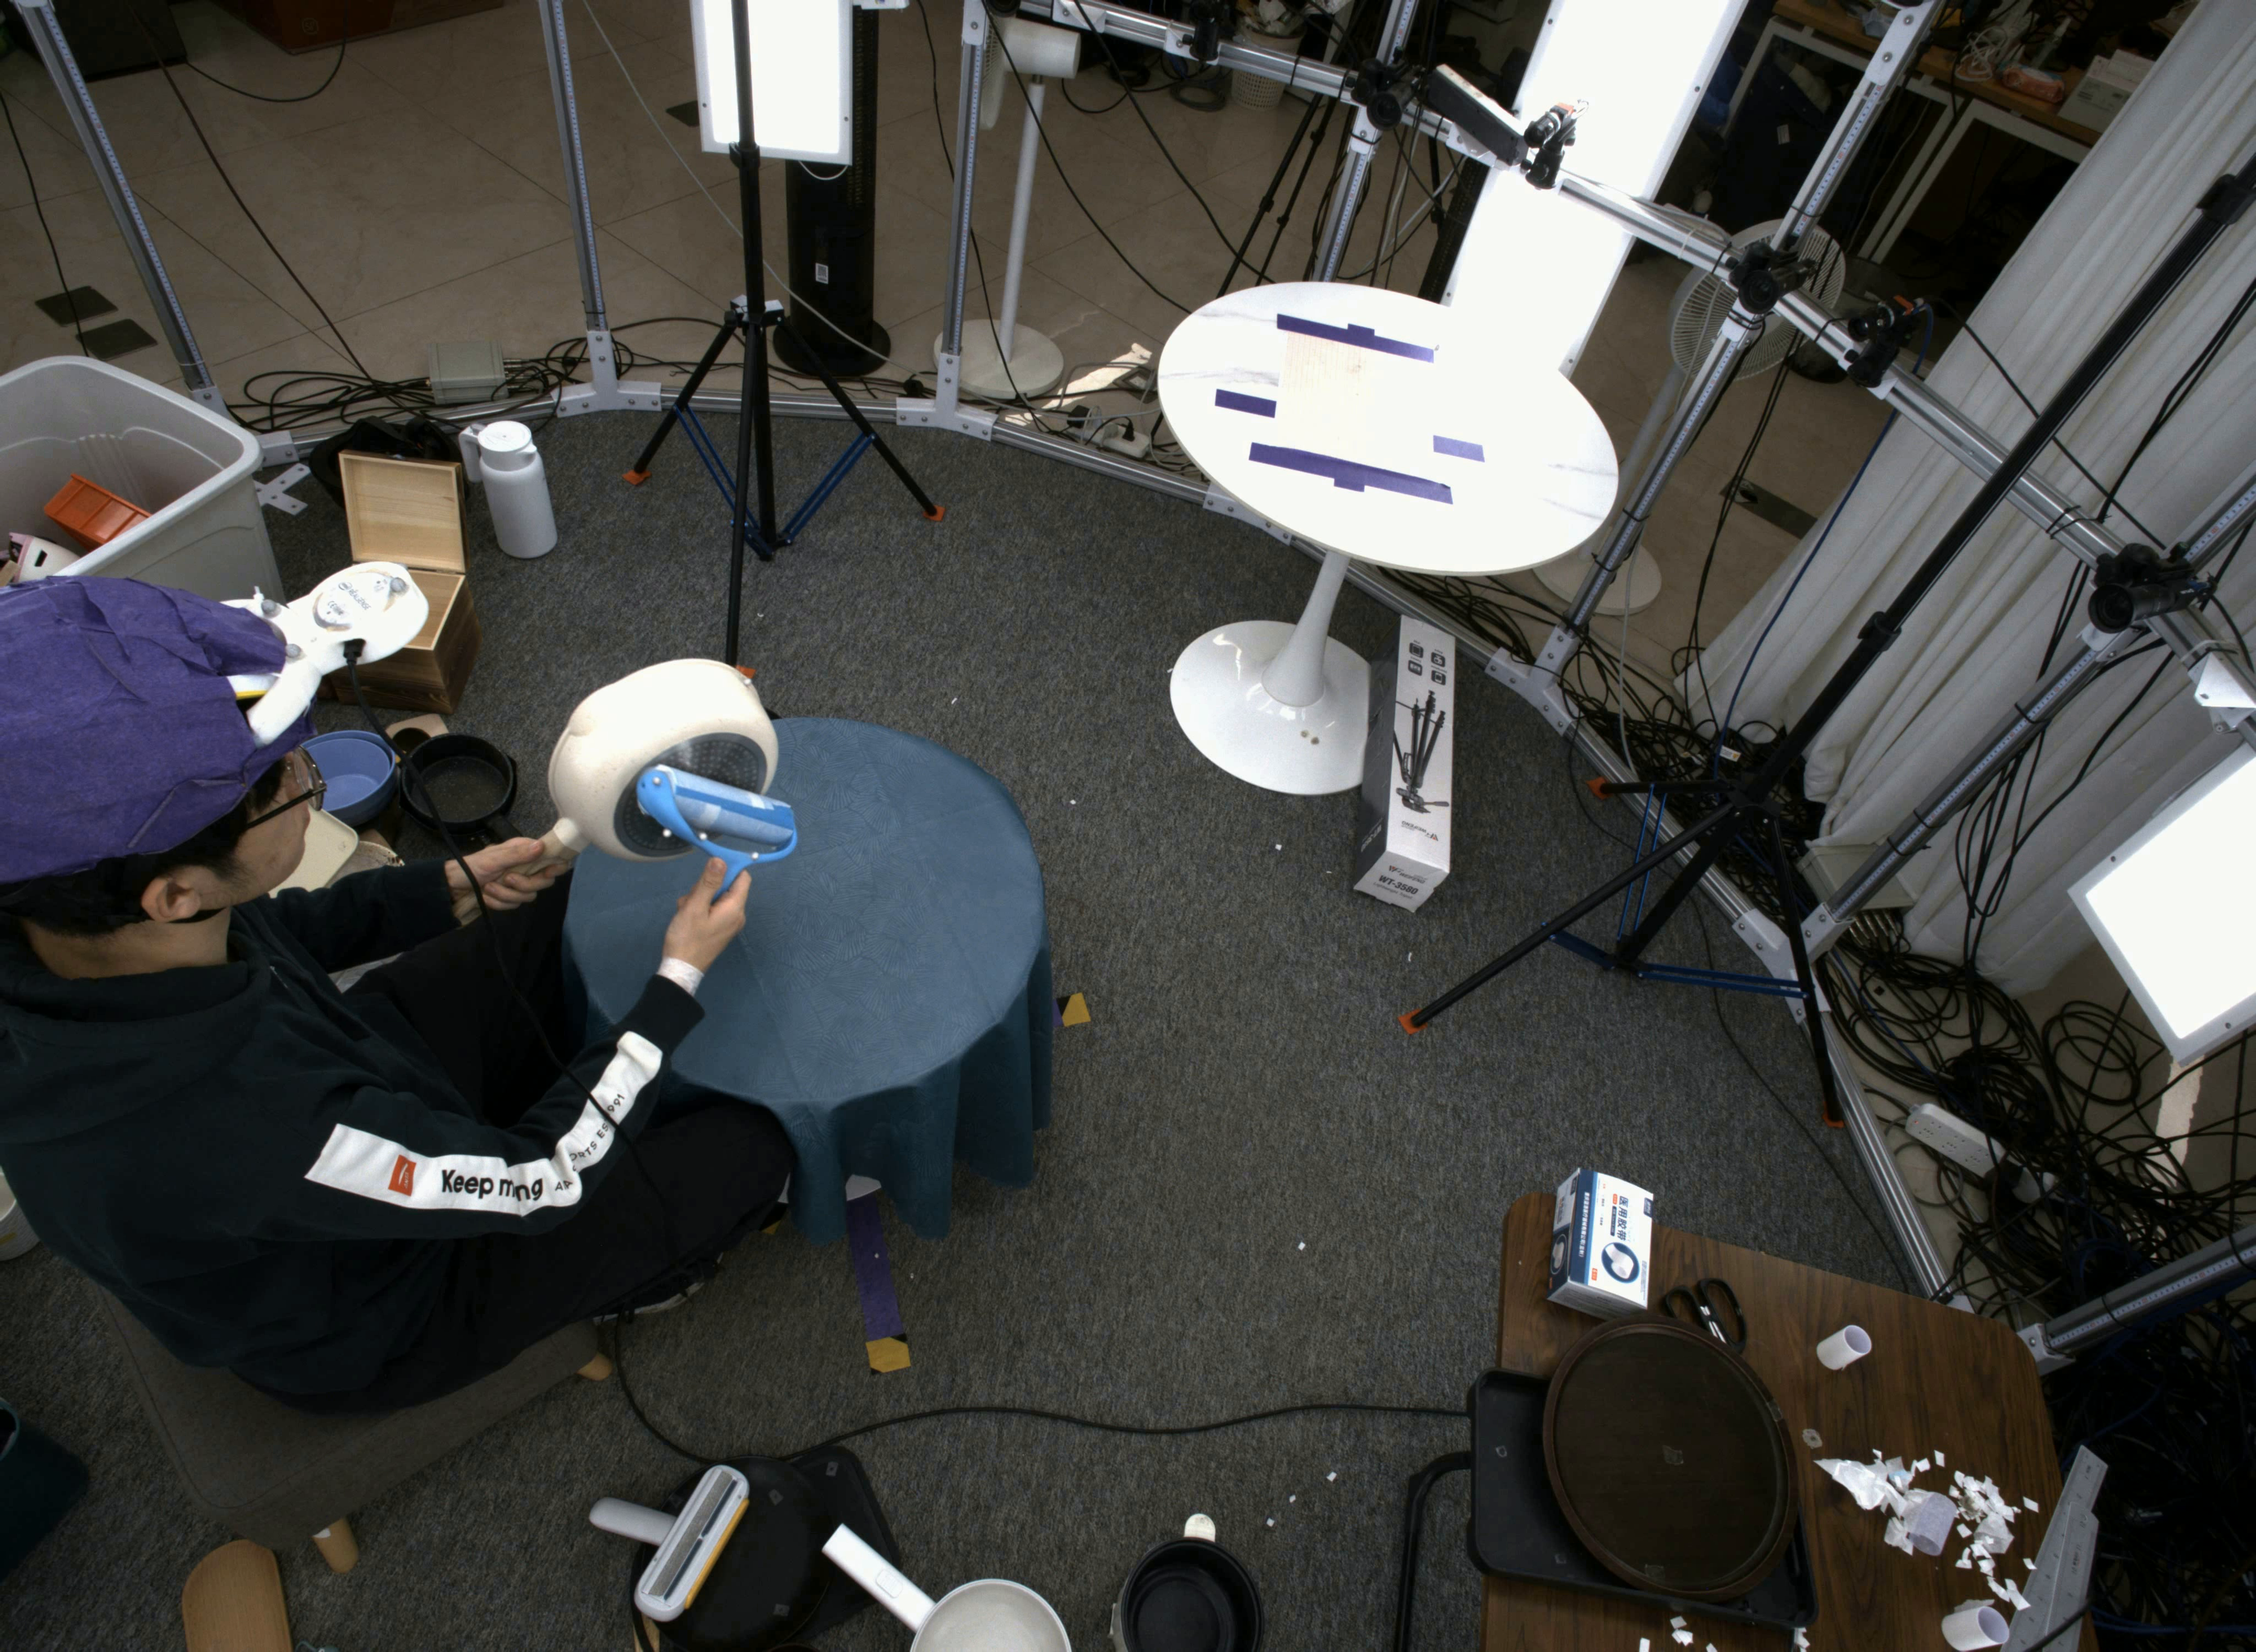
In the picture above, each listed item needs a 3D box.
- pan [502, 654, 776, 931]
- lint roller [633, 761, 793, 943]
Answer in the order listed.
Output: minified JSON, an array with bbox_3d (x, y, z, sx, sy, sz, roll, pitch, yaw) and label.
[{"bbox_3d":[-0.573,-0.007,1.412,0.434,0.270,0.099,-42,67,-3],"label":"pan"},{"bbox_3d":[-0.451,0.035,1.390,0.066,0.234,0.182,3,85,23],"label":"lint roller"}]
